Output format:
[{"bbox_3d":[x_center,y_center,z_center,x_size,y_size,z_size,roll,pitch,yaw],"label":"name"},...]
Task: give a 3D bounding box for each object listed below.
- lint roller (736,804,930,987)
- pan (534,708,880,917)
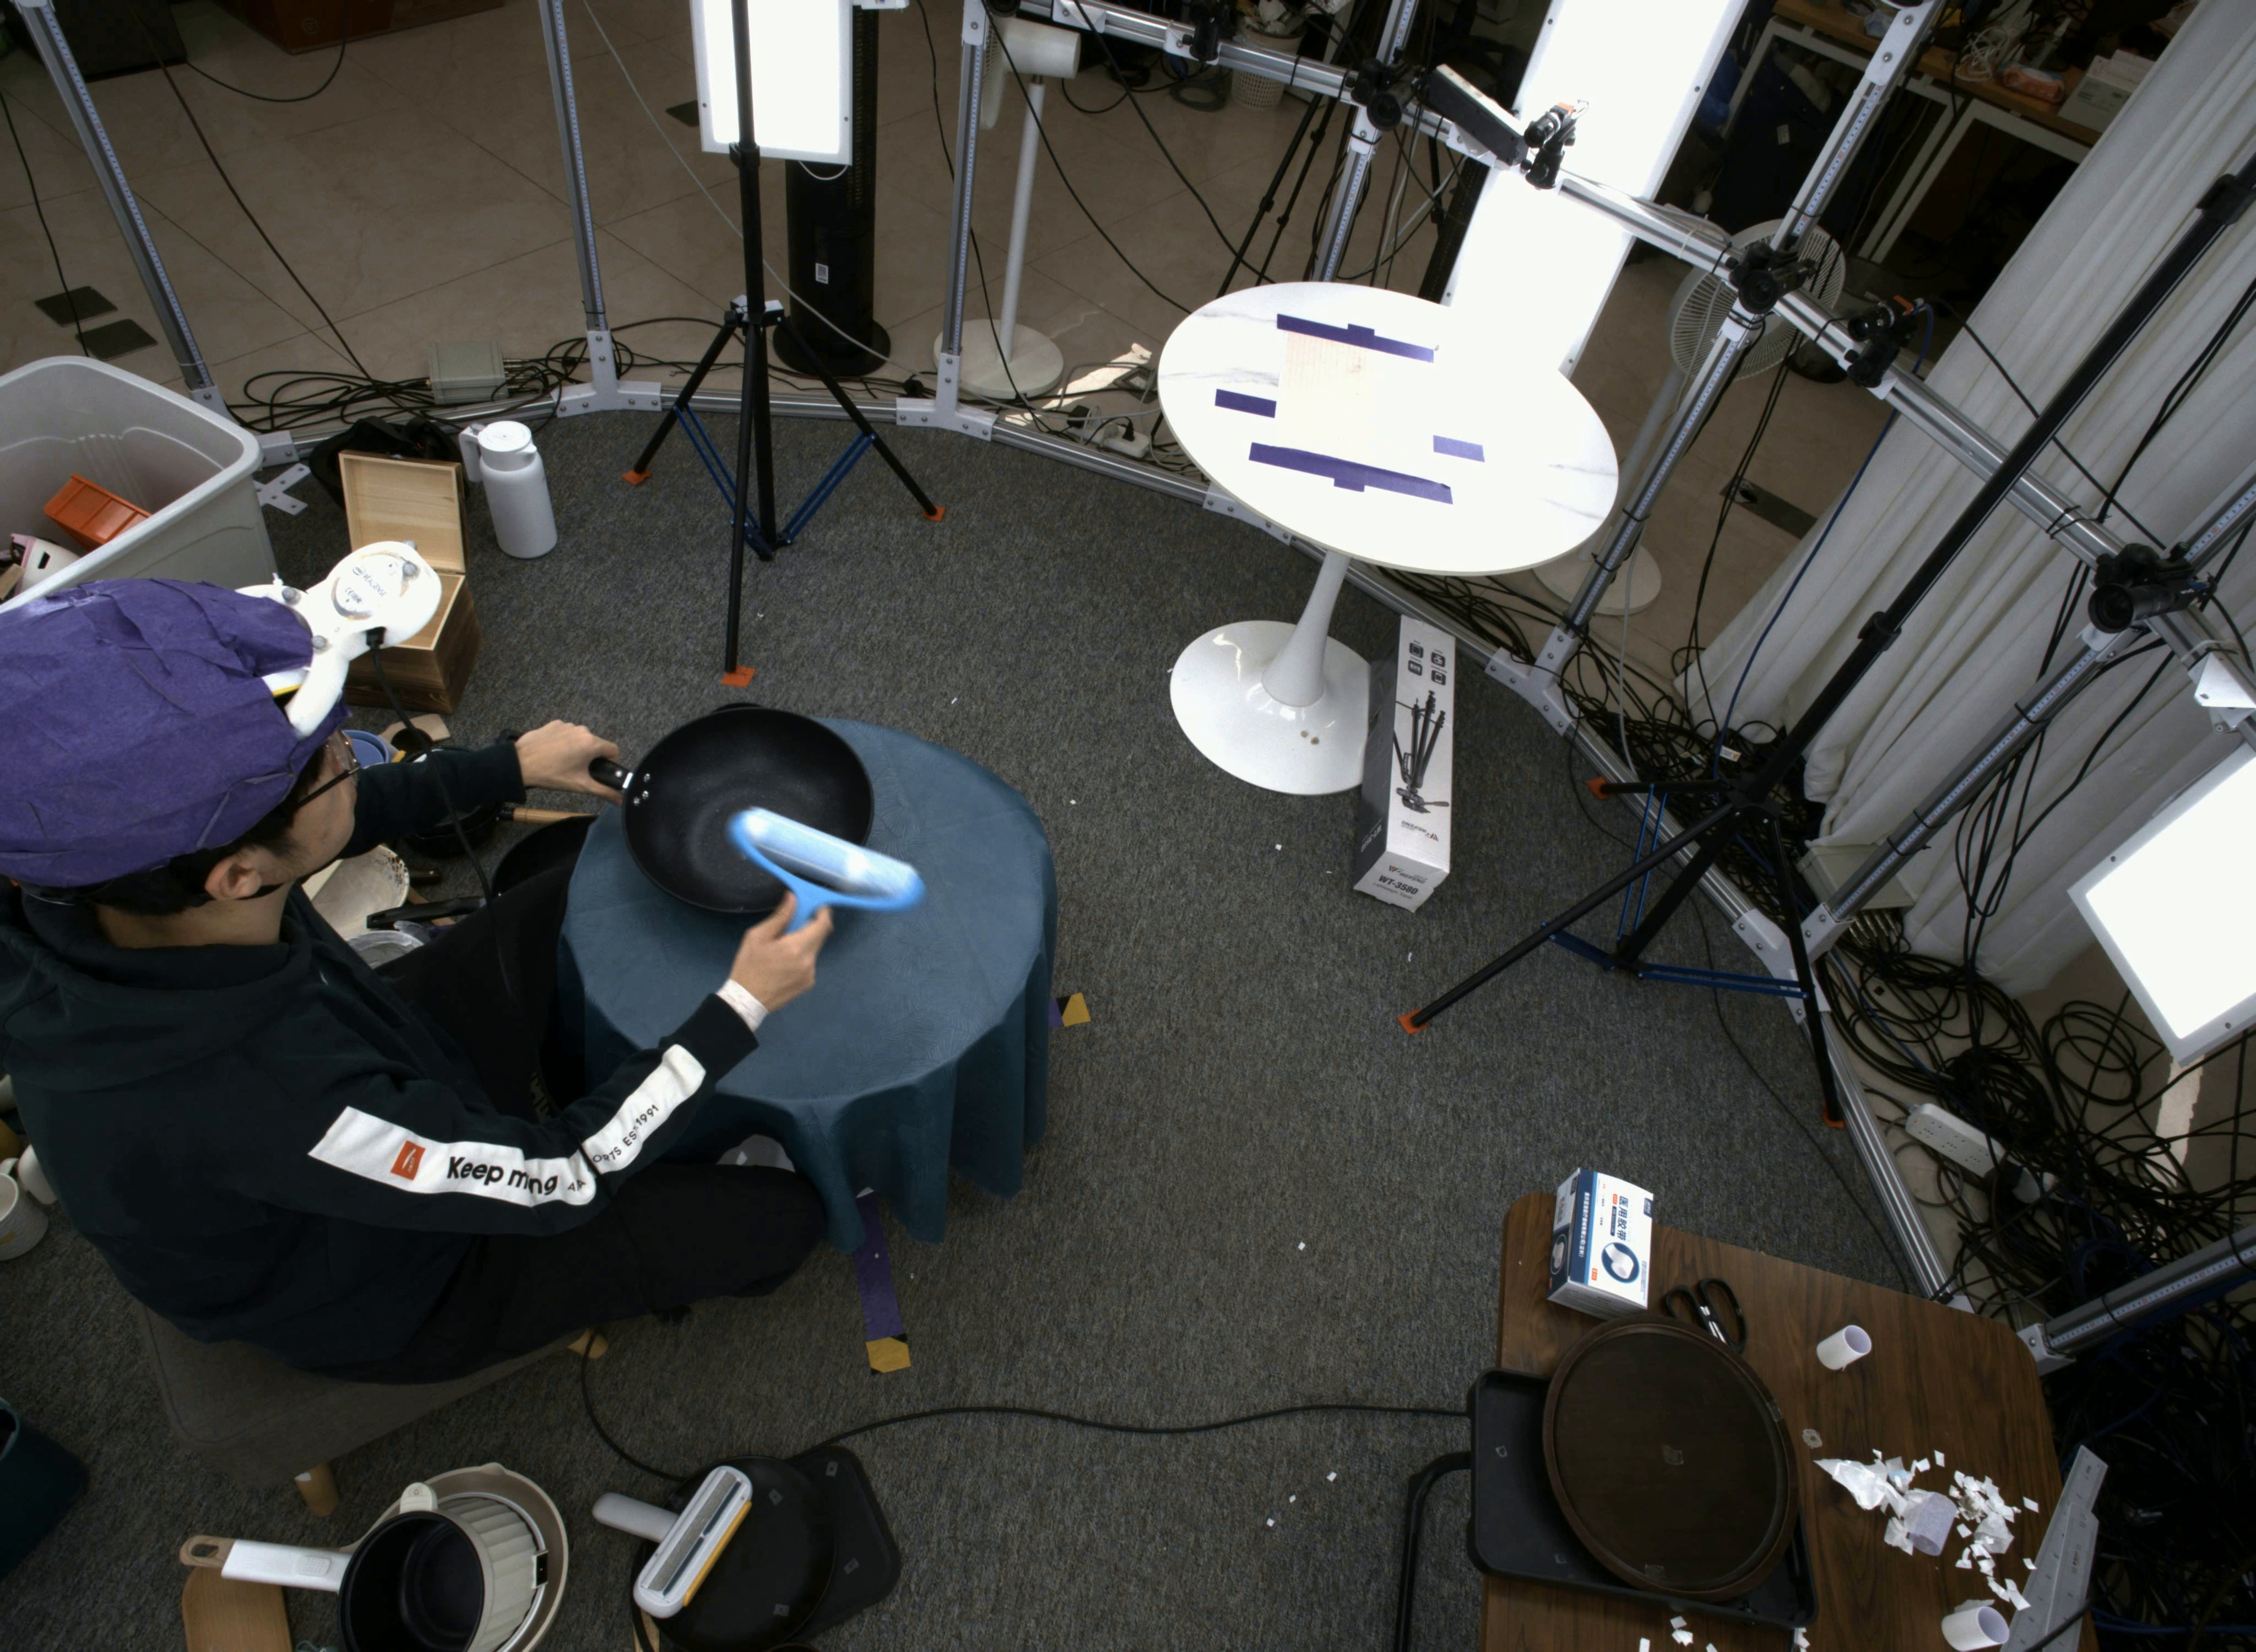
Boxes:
[{"bbox_3d":[-0.347,0.087,1.445,0.230,0.068,0.179,22,66,-12],"label":"lint roller"},{"bbox_3d":[-0.552,-0.030,1.642,0.474,0.113,0.306,13,55,-5],"label":"pan"}]
